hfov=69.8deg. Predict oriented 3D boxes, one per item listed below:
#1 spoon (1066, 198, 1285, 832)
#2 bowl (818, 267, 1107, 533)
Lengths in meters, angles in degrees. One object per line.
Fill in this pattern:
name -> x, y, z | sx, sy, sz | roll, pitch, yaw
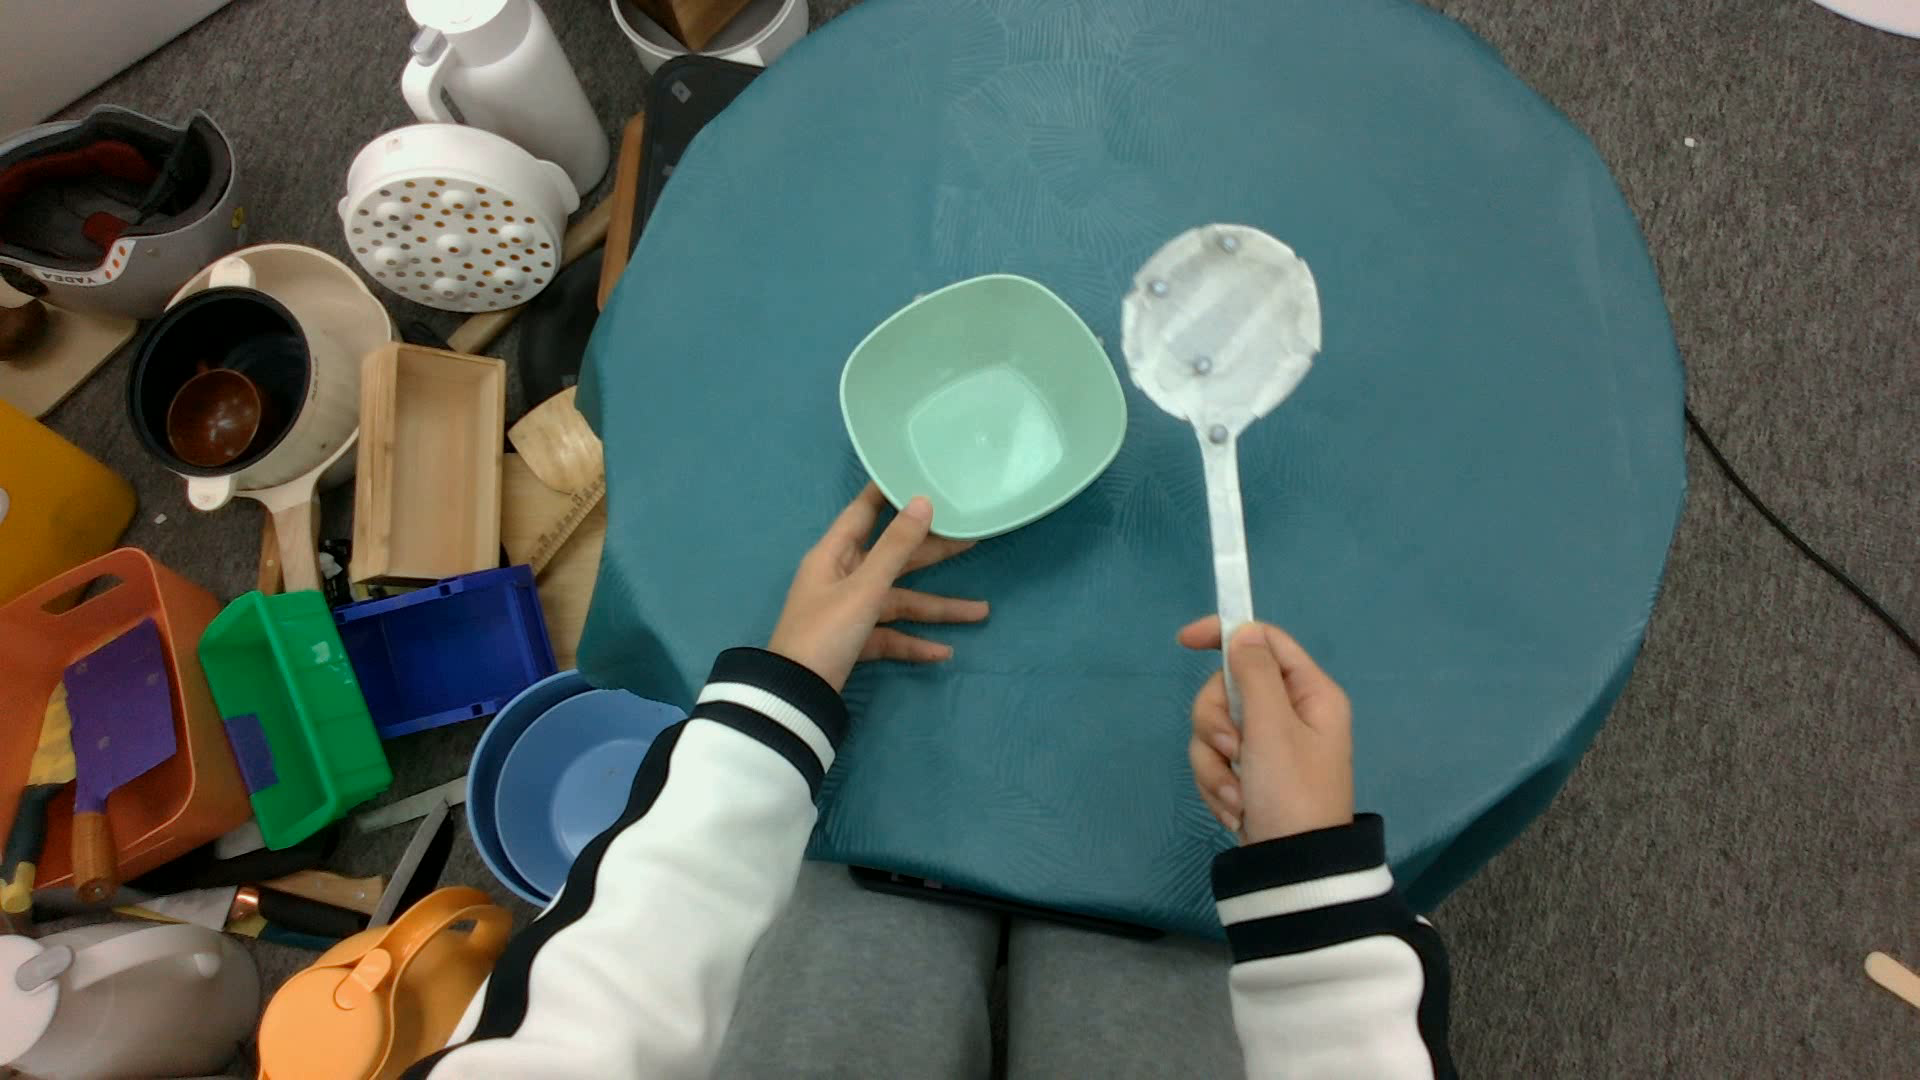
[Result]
spoon -> 0.100, -0.017, 0.597 | 0.100, 0.059, 0.278 | -2, 67, 4
bowl -> 0.002, -0.067, 0.735 | 0.151, 0.058, 0.152 | -1, 71, 2
